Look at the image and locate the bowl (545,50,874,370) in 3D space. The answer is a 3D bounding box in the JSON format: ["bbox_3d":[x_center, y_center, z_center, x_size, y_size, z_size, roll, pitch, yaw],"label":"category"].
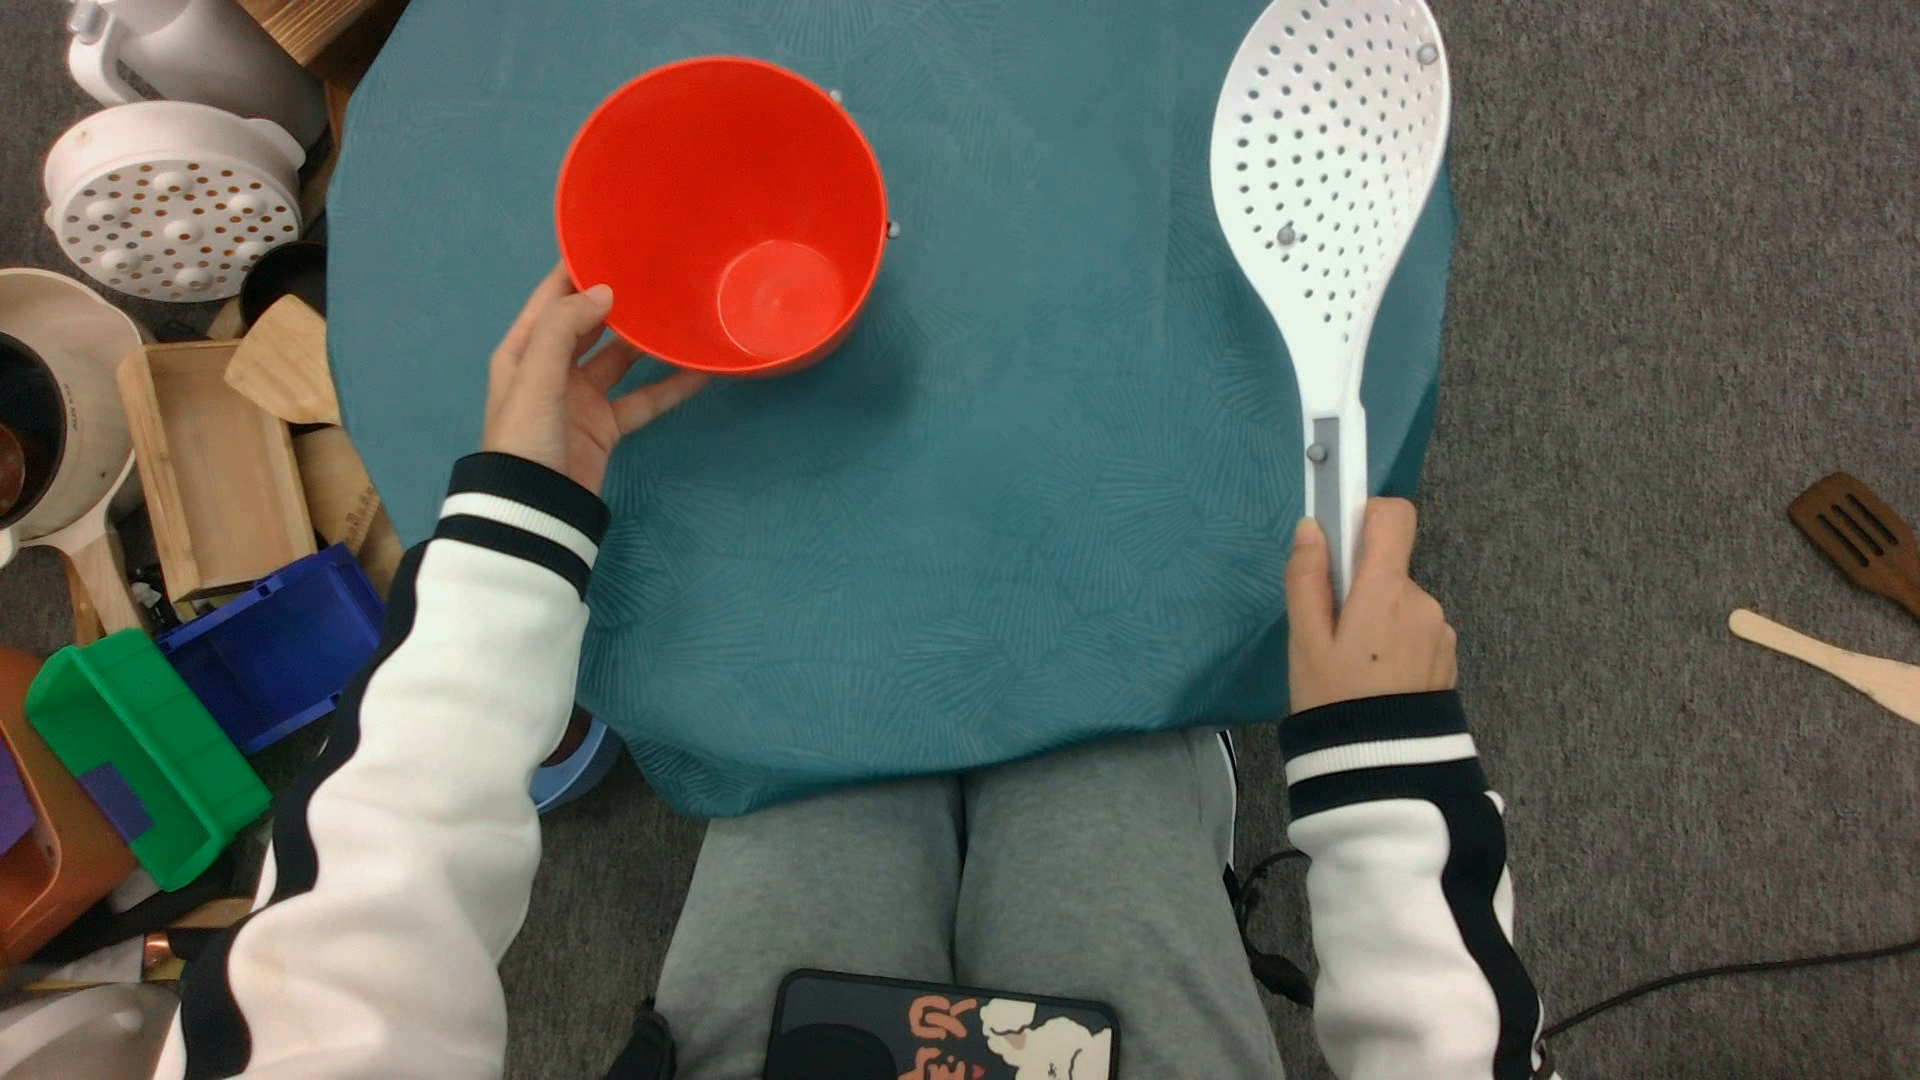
[{"bbox_3d":[-0.112,-0.145,0.667,0.148,0.104,0.148,0,76,1],"label":"bowl"}]

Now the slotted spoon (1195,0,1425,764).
[{"bbox_3d":[0.158,-0.075,0.611,0.046,0.136,0.350,2,89,-31],"label":"slotted spoon"}]
